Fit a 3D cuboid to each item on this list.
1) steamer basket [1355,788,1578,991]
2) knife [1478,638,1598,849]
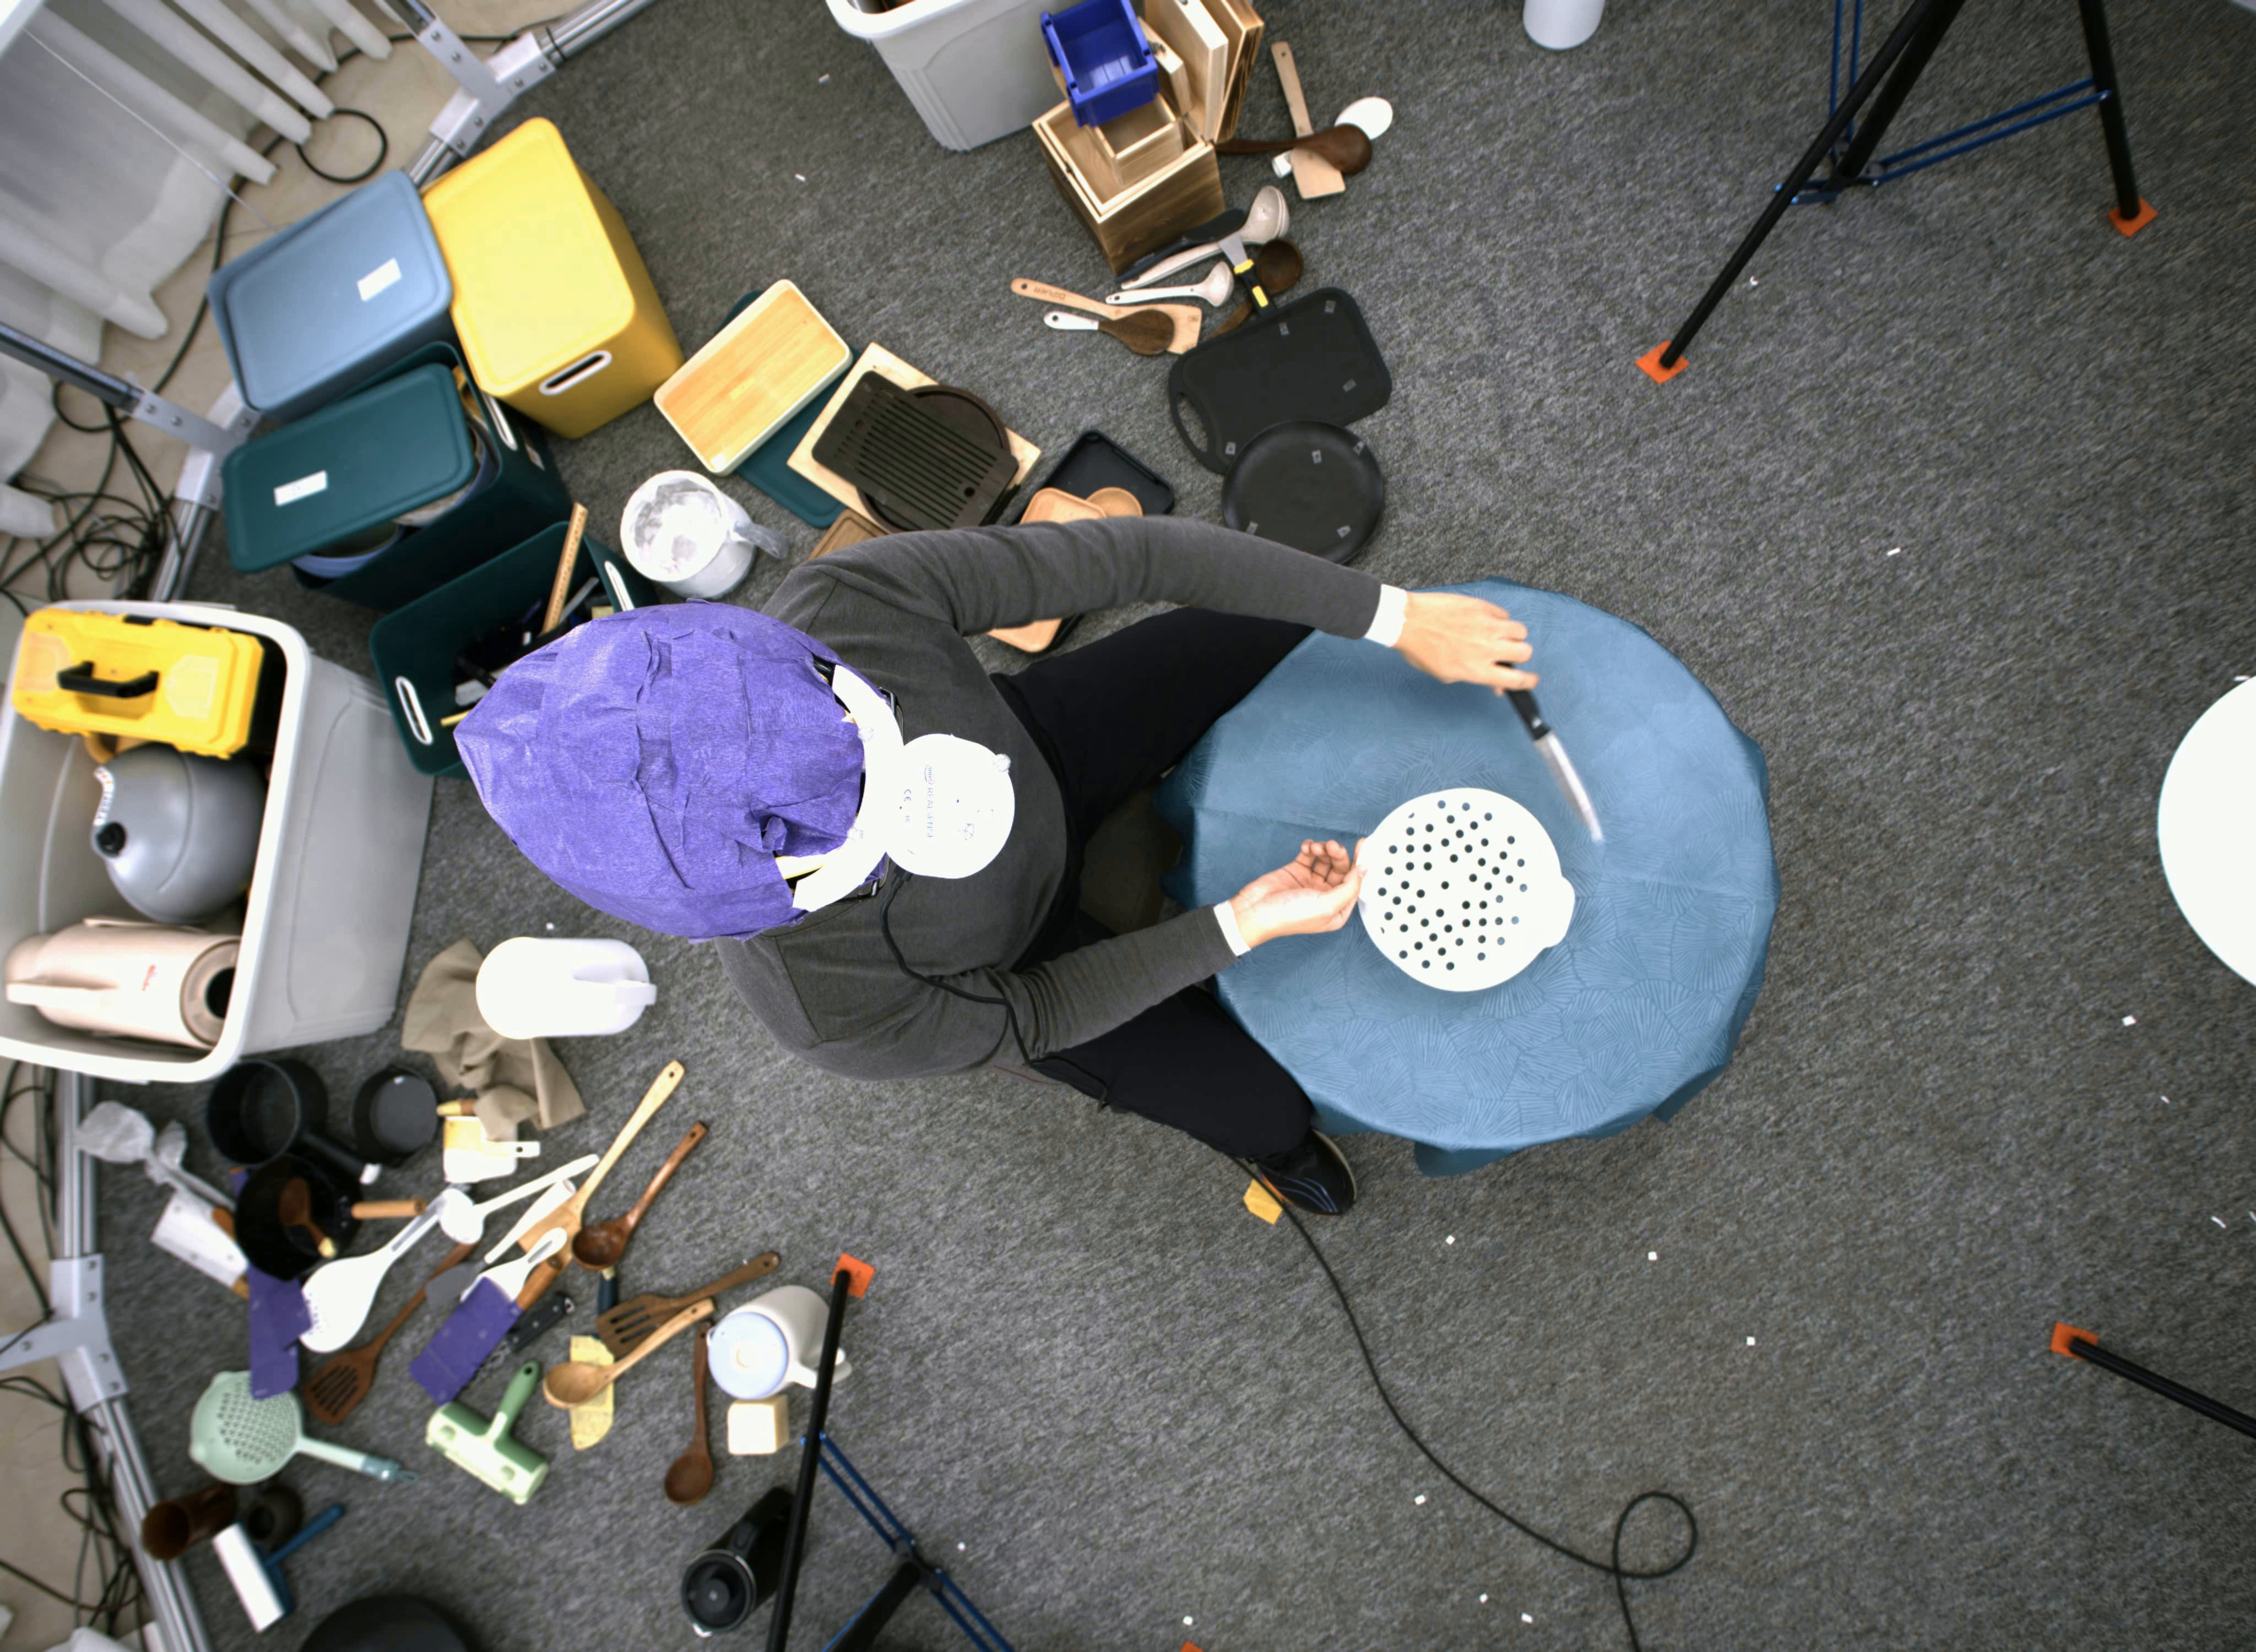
[{"bbox_3d":[0.335,0.061,1.394,0.231,0.069,0.202,14,92,-5],"label":"steamer basket"},{"bbox_3d":[0.407,-0.081,1.356,0.024,0.016,0.239,-31,97,-4],"label":"knife"}]
